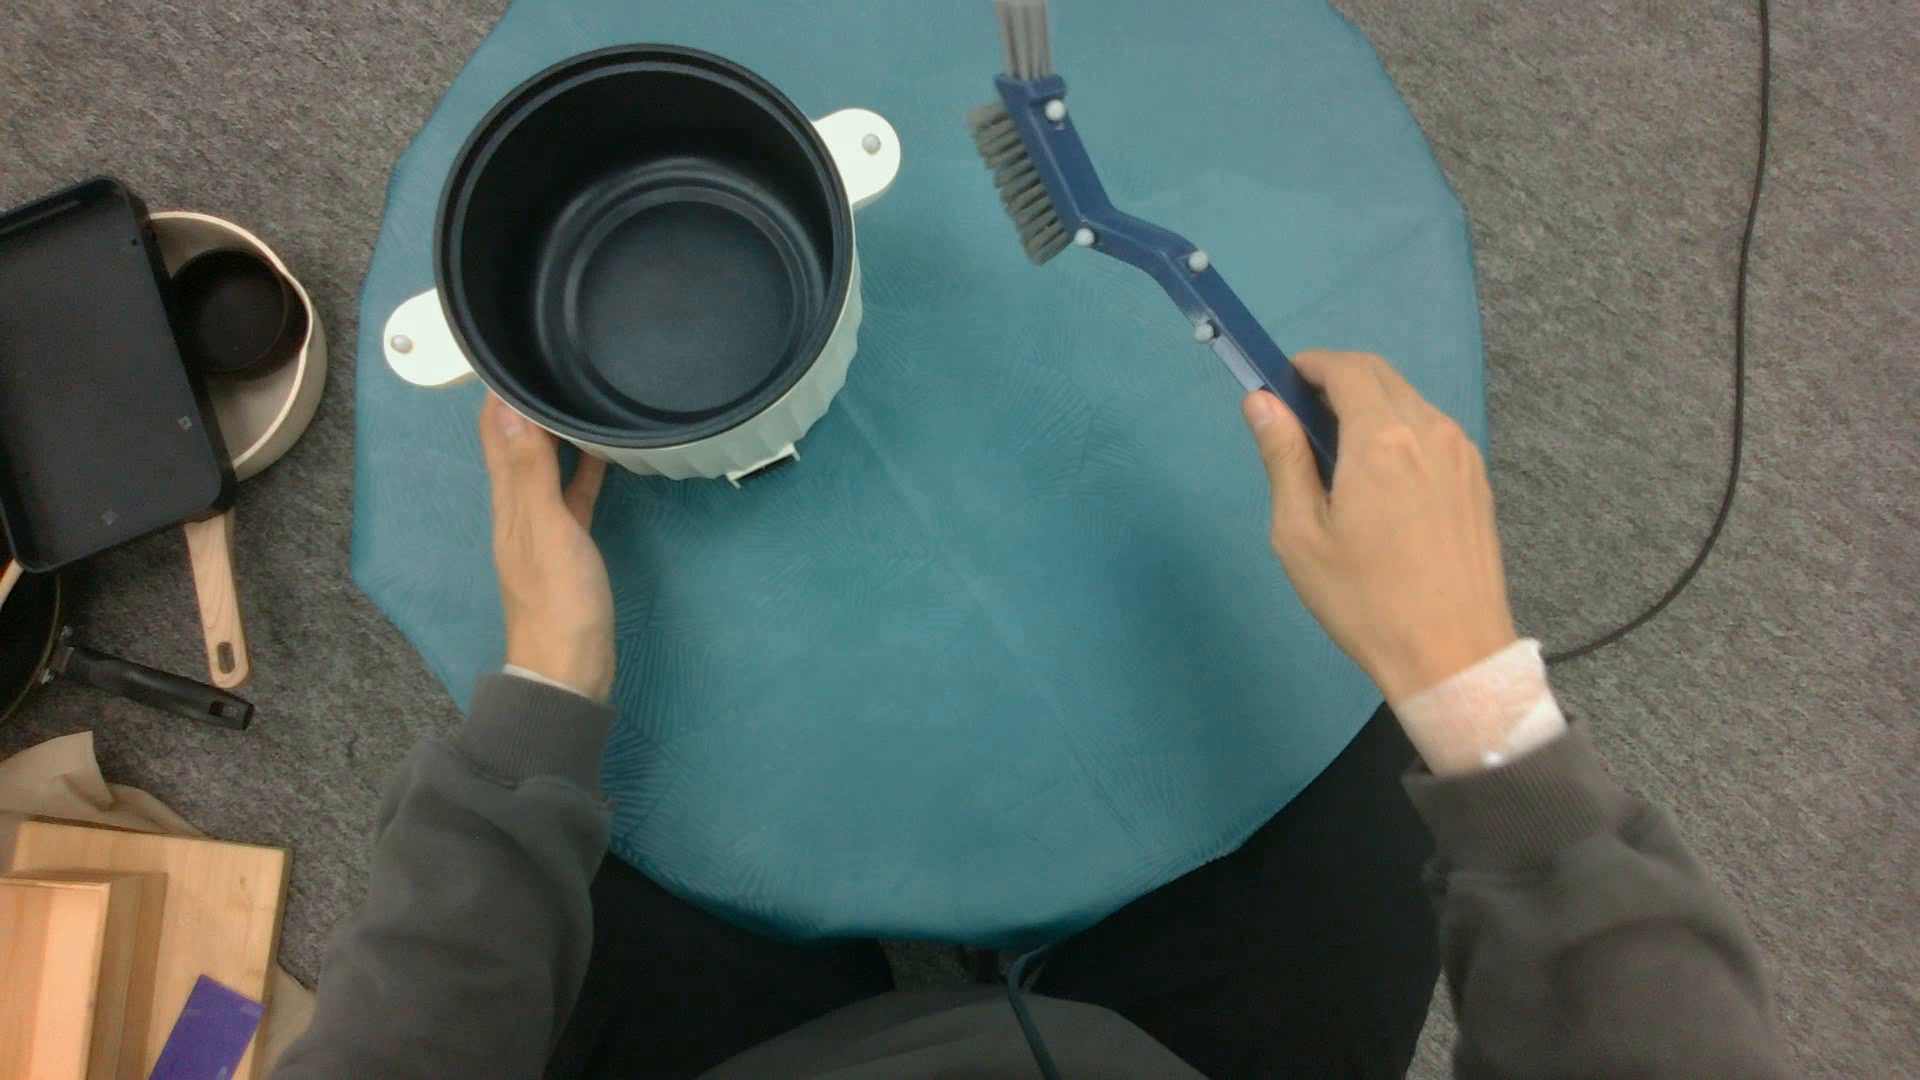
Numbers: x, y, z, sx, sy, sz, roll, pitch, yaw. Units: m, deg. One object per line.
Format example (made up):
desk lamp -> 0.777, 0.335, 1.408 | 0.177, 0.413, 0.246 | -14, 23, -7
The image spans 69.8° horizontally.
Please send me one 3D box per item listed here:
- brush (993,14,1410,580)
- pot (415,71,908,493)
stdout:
brush -> 0.106, -0.104, 0.588 | 0.273, 0.095, 0.033 | 48, 43, 16
pot -> -0.137, -0.121, 0.681 | 0.240, 0.142, 0.190 | -26, 87, -5
